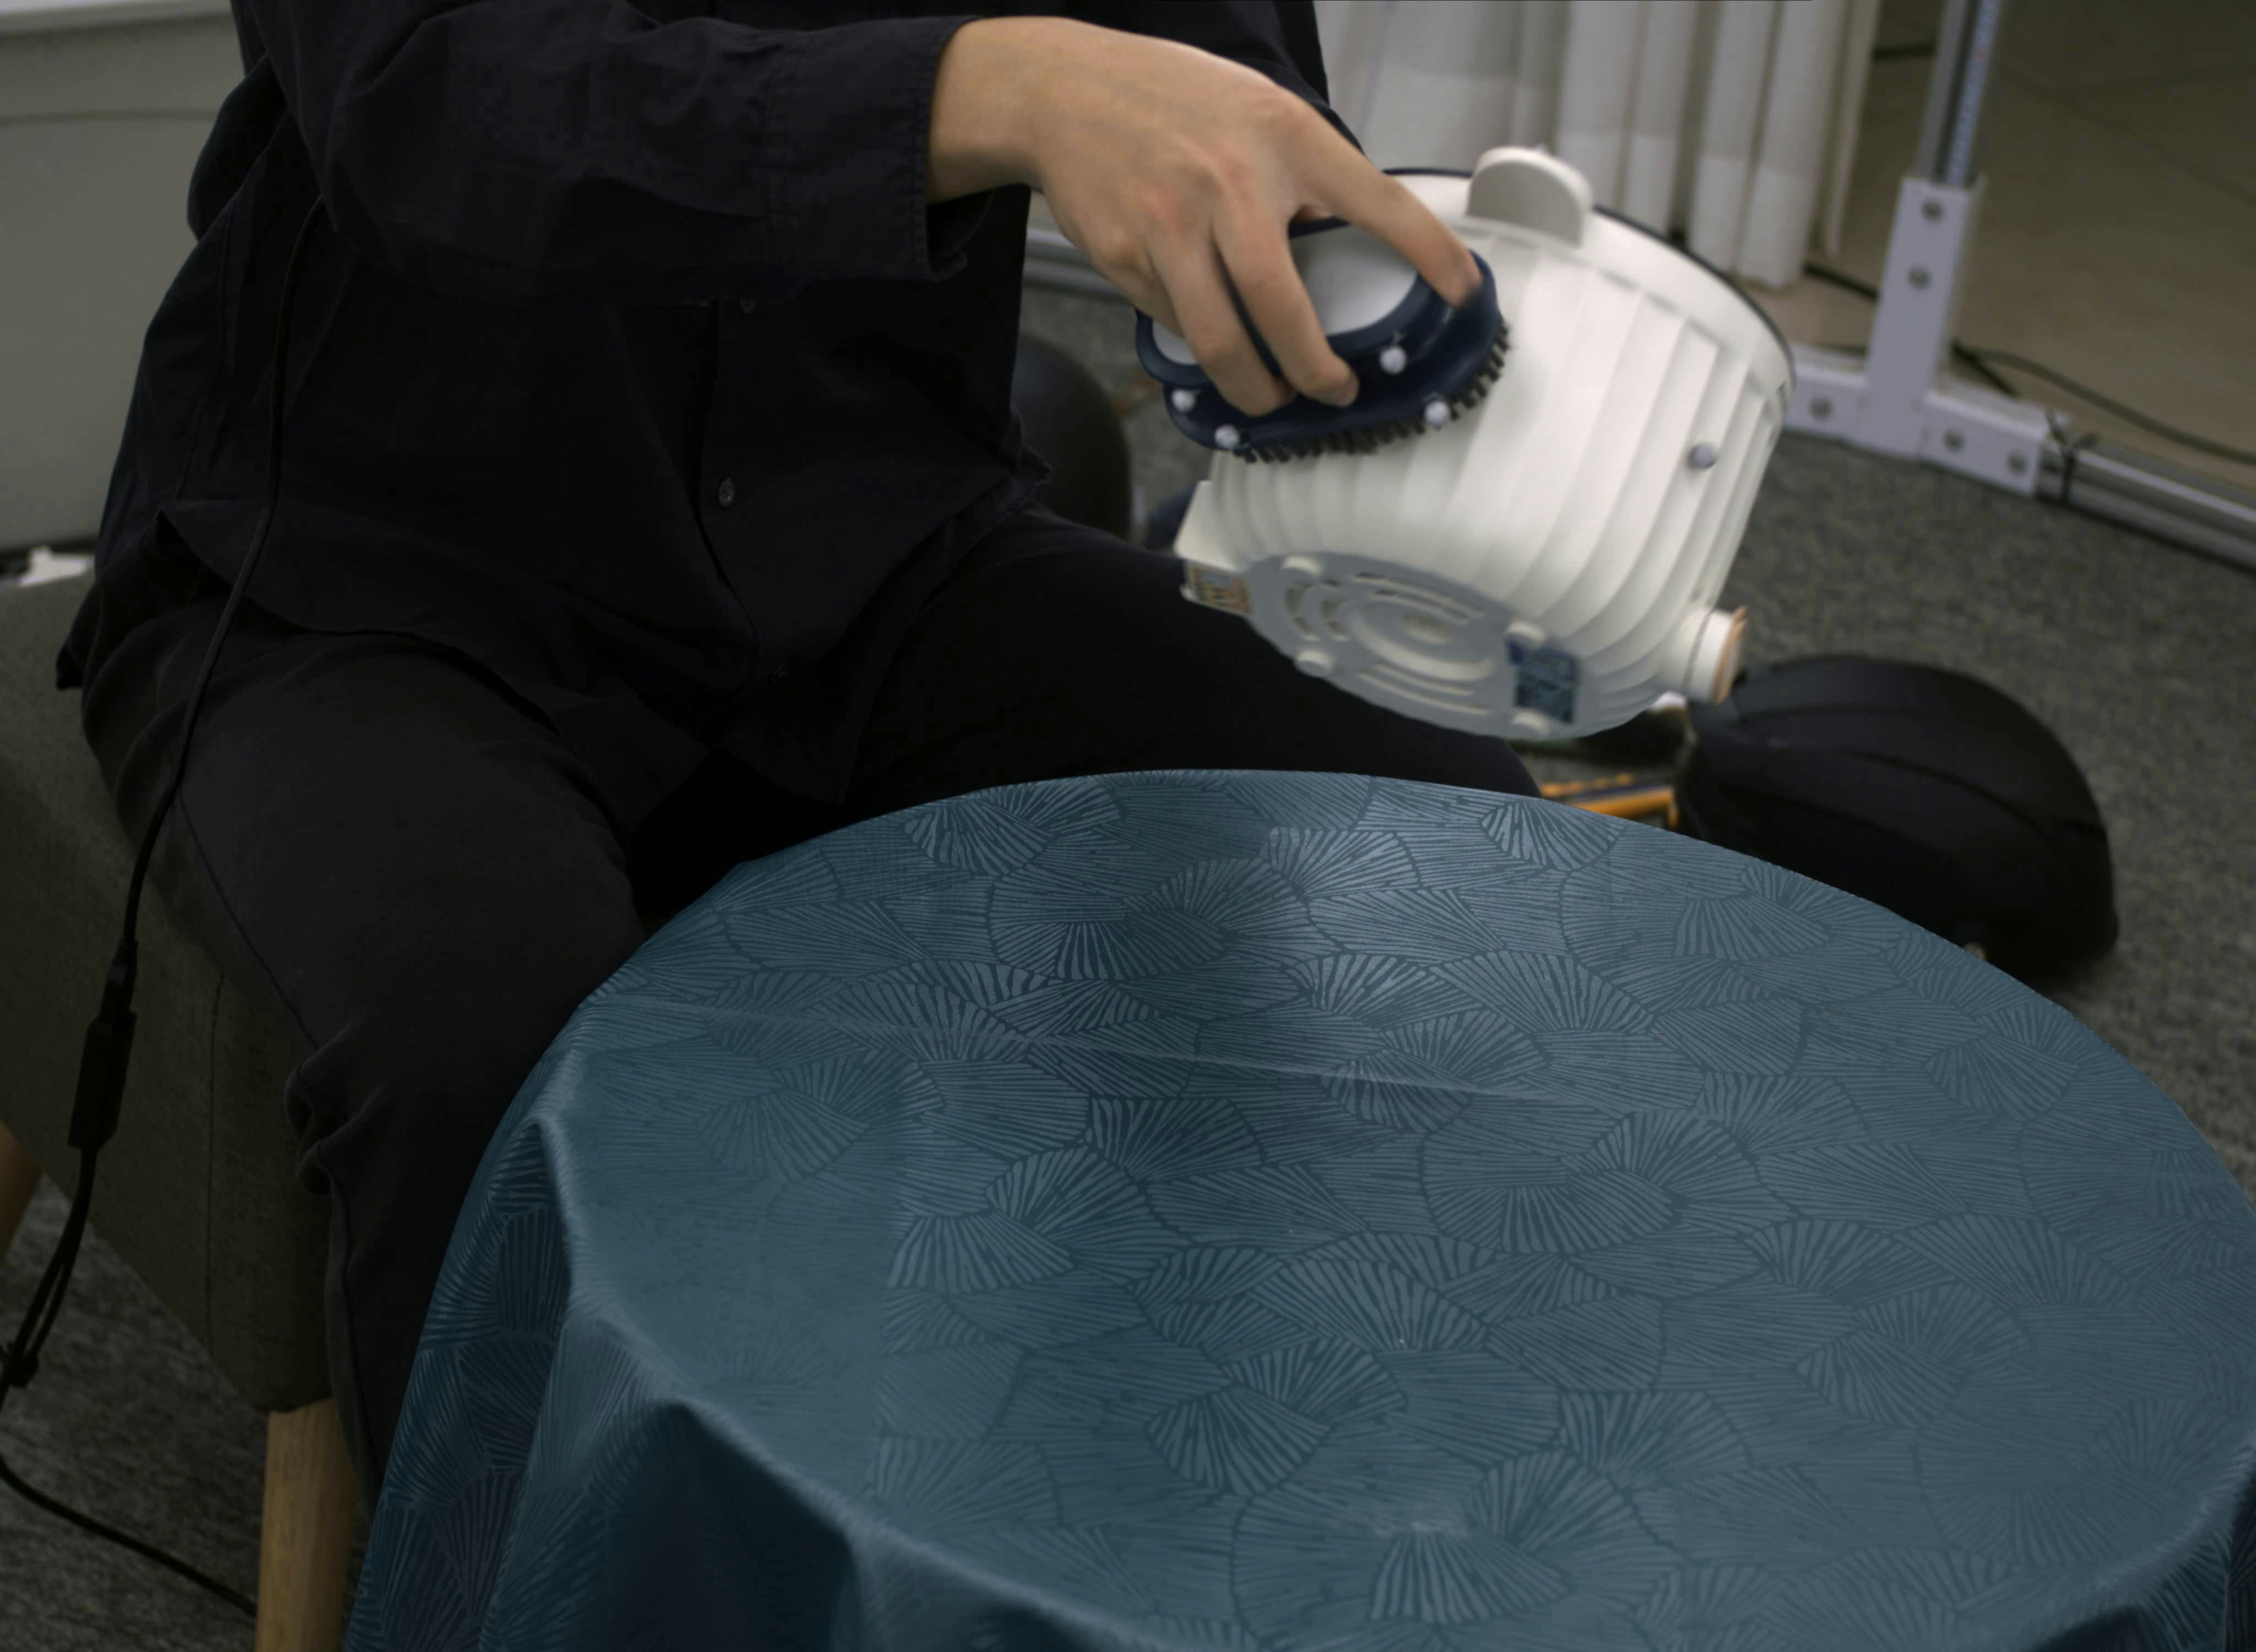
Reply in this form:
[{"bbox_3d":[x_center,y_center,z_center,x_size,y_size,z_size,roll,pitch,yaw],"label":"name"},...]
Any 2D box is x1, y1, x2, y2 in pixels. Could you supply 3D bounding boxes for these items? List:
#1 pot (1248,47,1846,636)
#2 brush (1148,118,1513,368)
[{"bbox_3d":[0.149,-0.153,1.846,0.190,0.239,0.143,14,71,10],"label":"pot"},{"bbox_3d":[0.068,-0.189,1.749,0.122,0.060,0.068,-5,61,31],"label":"brush"}]
